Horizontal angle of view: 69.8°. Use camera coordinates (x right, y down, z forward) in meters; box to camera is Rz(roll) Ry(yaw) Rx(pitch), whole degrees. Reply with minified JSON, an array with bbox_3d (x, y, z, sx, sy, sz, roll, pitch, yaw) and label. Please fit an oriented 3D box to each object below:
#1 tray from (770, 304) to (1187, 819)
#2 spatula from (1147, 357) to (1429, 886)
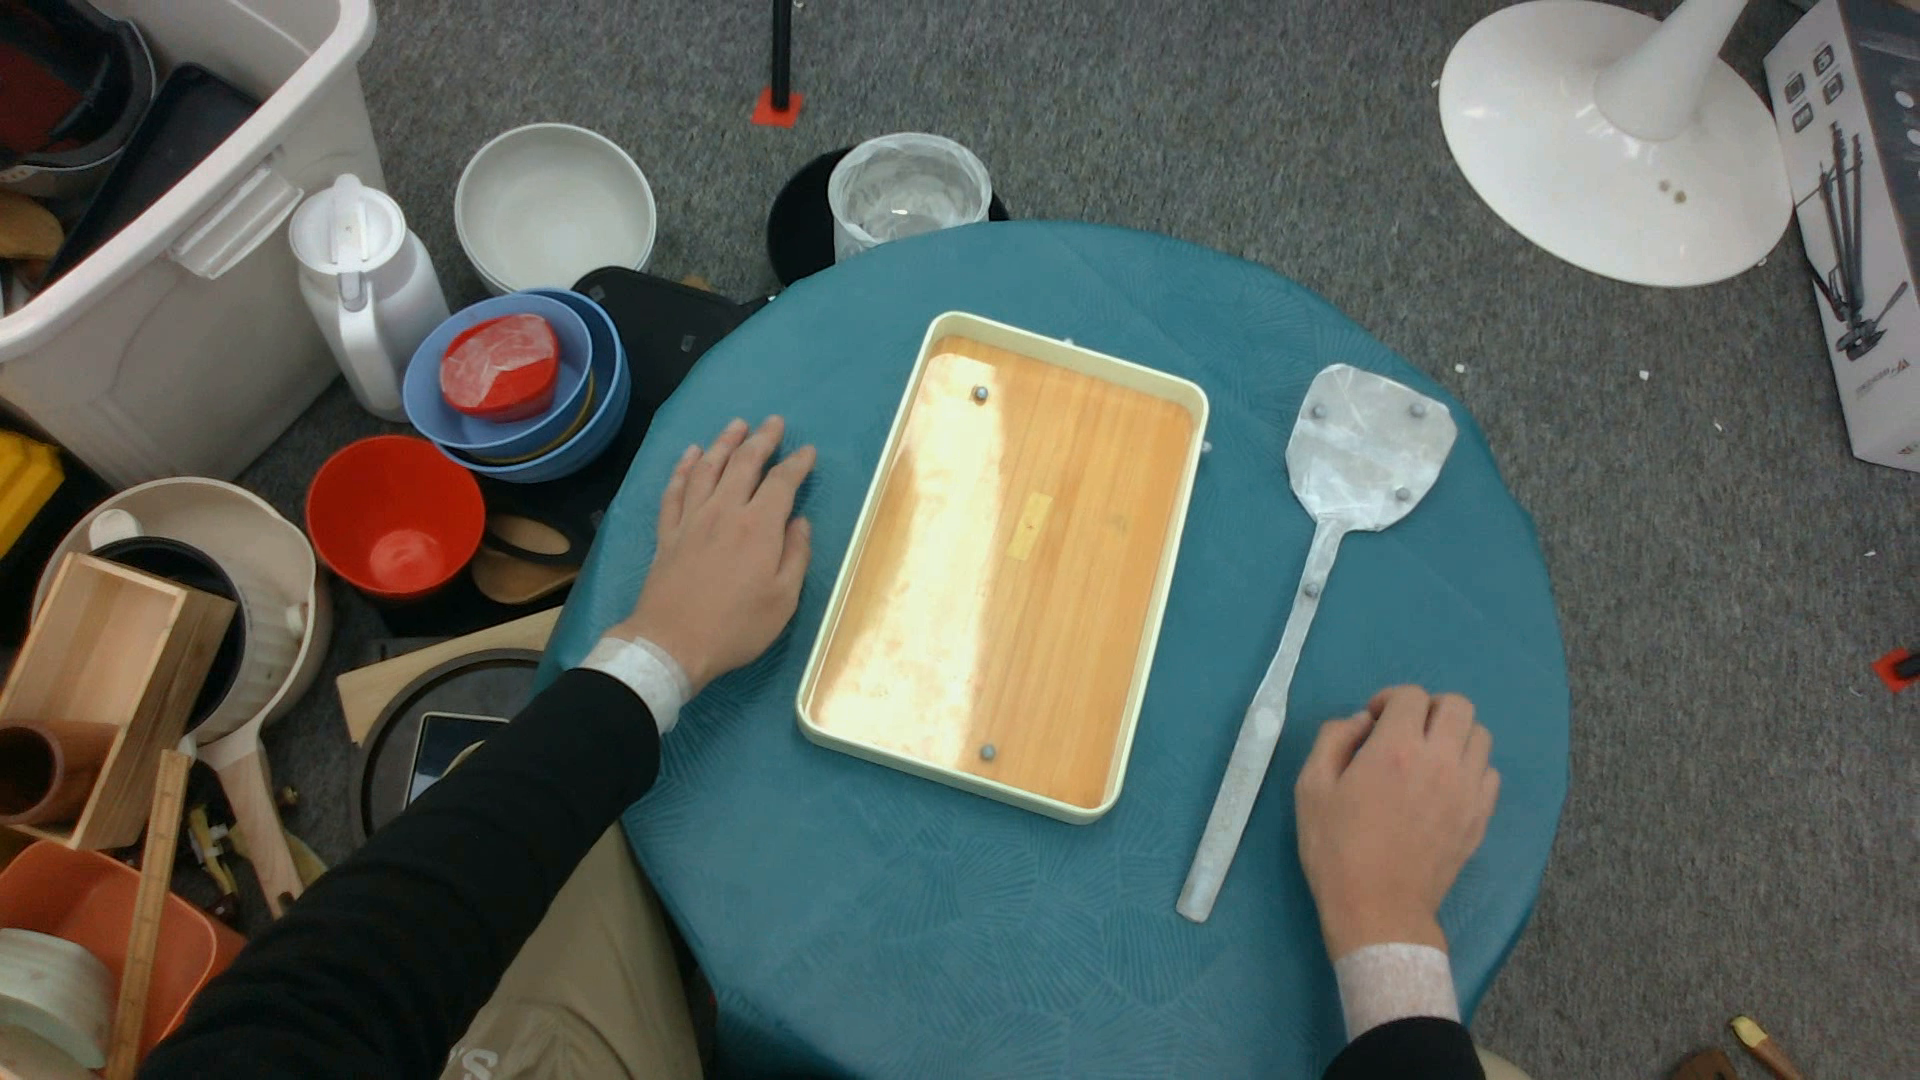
[{"bbox_3d":[0.019,0.003,0.835,0.191,0.027,0.301,18,63,0],"label":"tray"},{"bbox_3d":[0.191,0.045,0.834,0.098,0.044,0.366,25,63,3],"label":"spatula"}]
